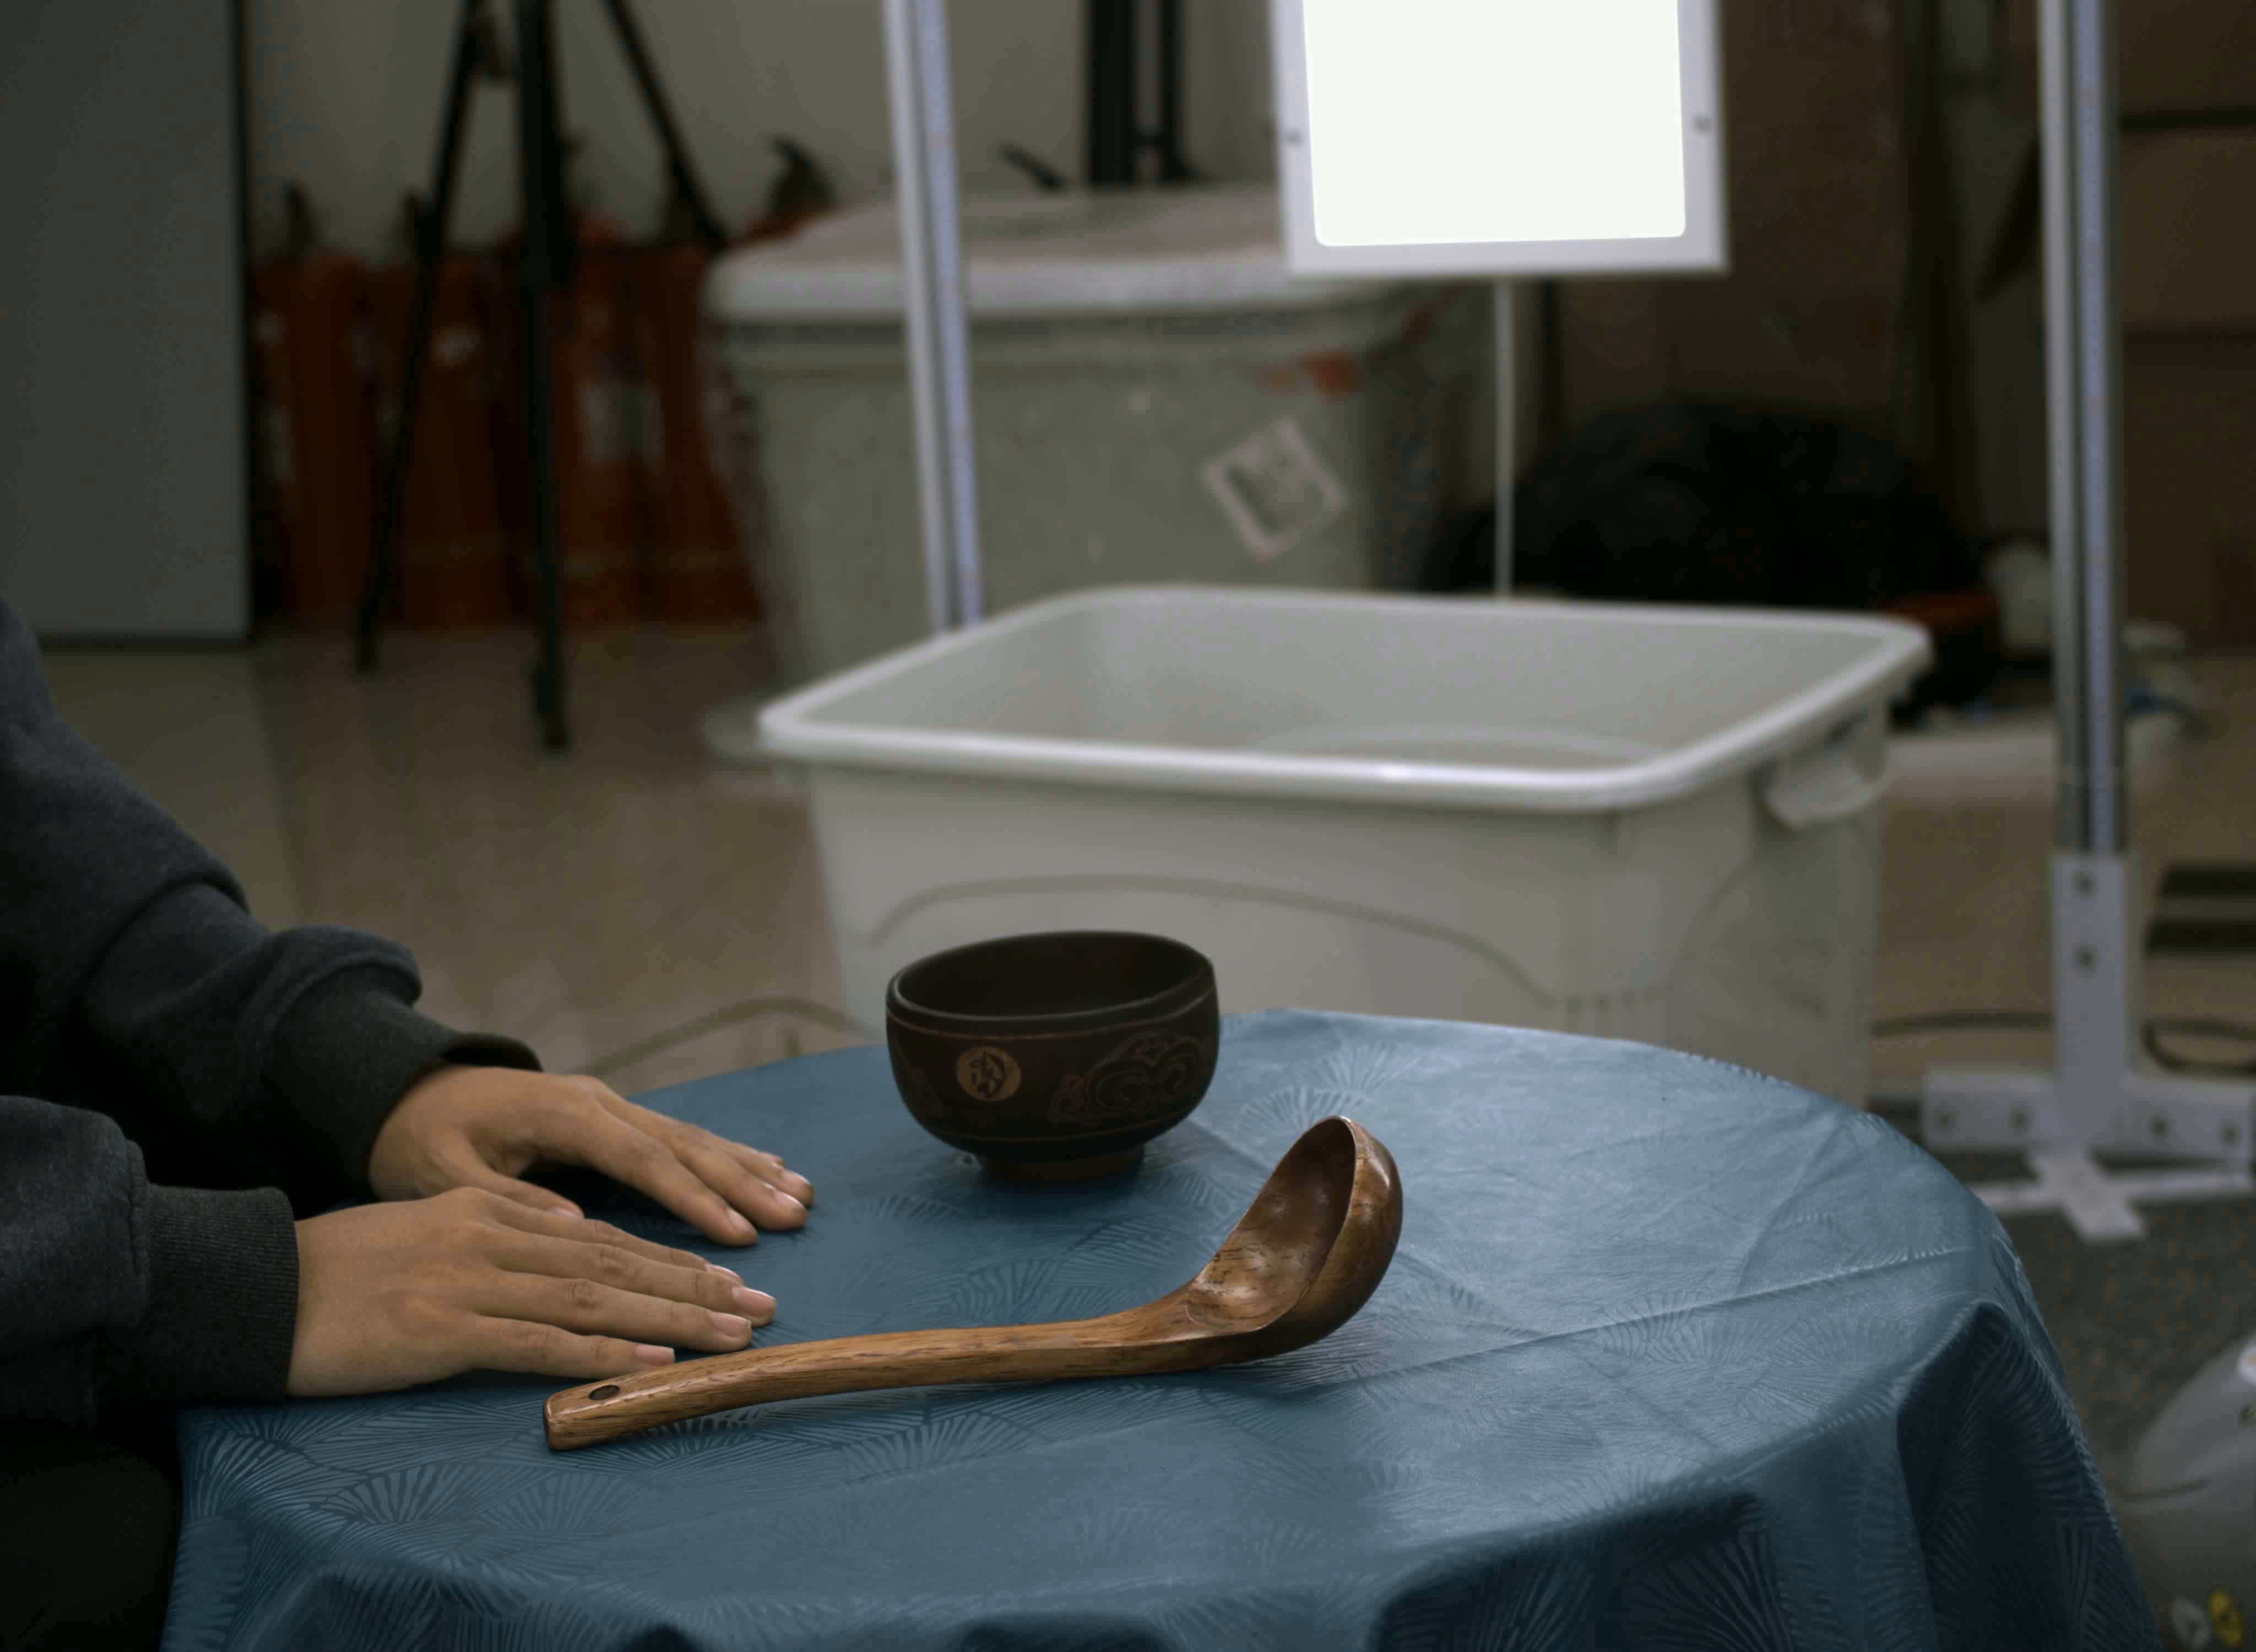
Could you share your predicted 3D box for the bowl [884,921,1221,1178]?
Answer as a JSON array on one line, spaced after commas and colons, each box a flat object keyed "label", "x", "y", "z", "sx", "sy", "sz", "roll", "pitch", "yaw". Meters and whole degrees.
[{"label": "bowl", "x": -0.025, "y": 0.082, "z": 1.932, "sx": 0.118, "sy": 0.070, "sz": 0.118, "roll": -5, "pitch": 14, "yaw": 0}]

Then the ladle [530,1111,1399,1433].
[{"label": "ladle", "x": -0.051, "y": 0.138, "z": 1.702, "sx": 0.272, "sy": 0.077, "sz": 0.082, "roll": -5, "pitch": 19, "yaw": -3}]
